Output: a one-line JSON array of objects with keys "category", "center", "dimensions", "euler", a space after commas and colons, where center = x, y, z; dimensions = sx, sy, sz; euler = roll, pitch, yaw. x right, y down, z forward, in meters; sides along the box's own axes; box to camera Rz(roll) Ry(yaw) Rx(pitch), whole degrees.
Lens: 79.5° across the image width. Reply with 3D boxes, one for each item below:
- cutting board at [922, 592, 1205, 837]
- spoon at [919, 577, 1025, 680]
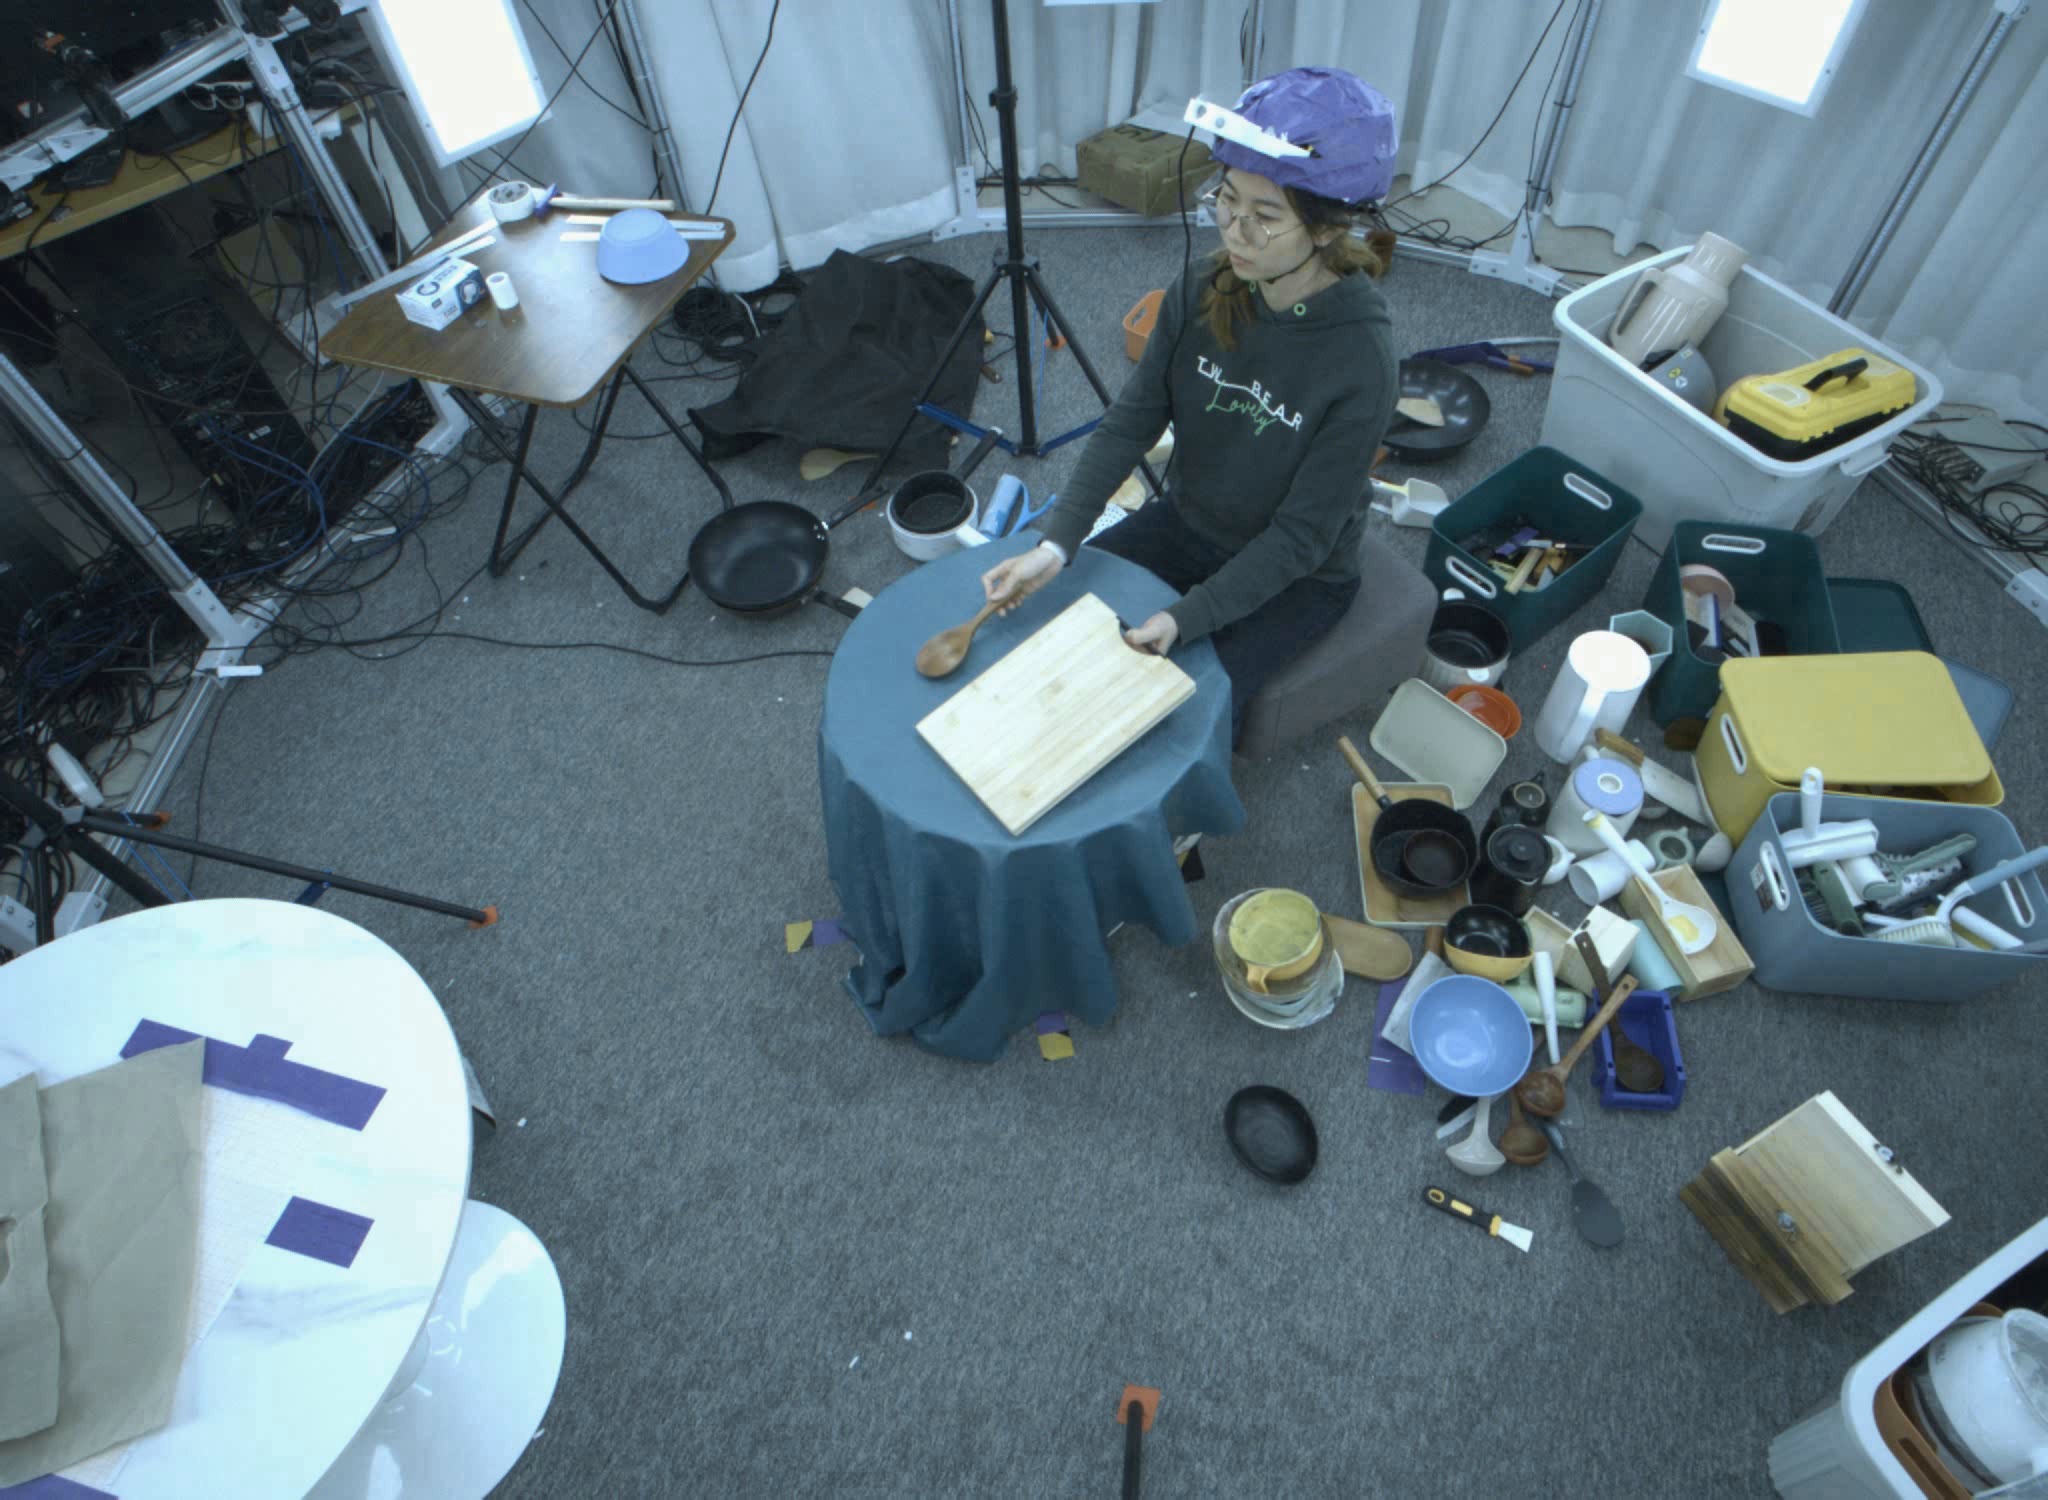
[{"category": "cutting board", "center": [0.053, -0.060, 1.793], "dimensions": [0.350, 0.024, 0.246], "euler": [-39, 63, -12]}, {"category": "spoon", "center": [-0.077, -0.187, 1.892], "dimensions": [0.074, 0.017, 0.216], "euler": [37, 77, 32]}]
